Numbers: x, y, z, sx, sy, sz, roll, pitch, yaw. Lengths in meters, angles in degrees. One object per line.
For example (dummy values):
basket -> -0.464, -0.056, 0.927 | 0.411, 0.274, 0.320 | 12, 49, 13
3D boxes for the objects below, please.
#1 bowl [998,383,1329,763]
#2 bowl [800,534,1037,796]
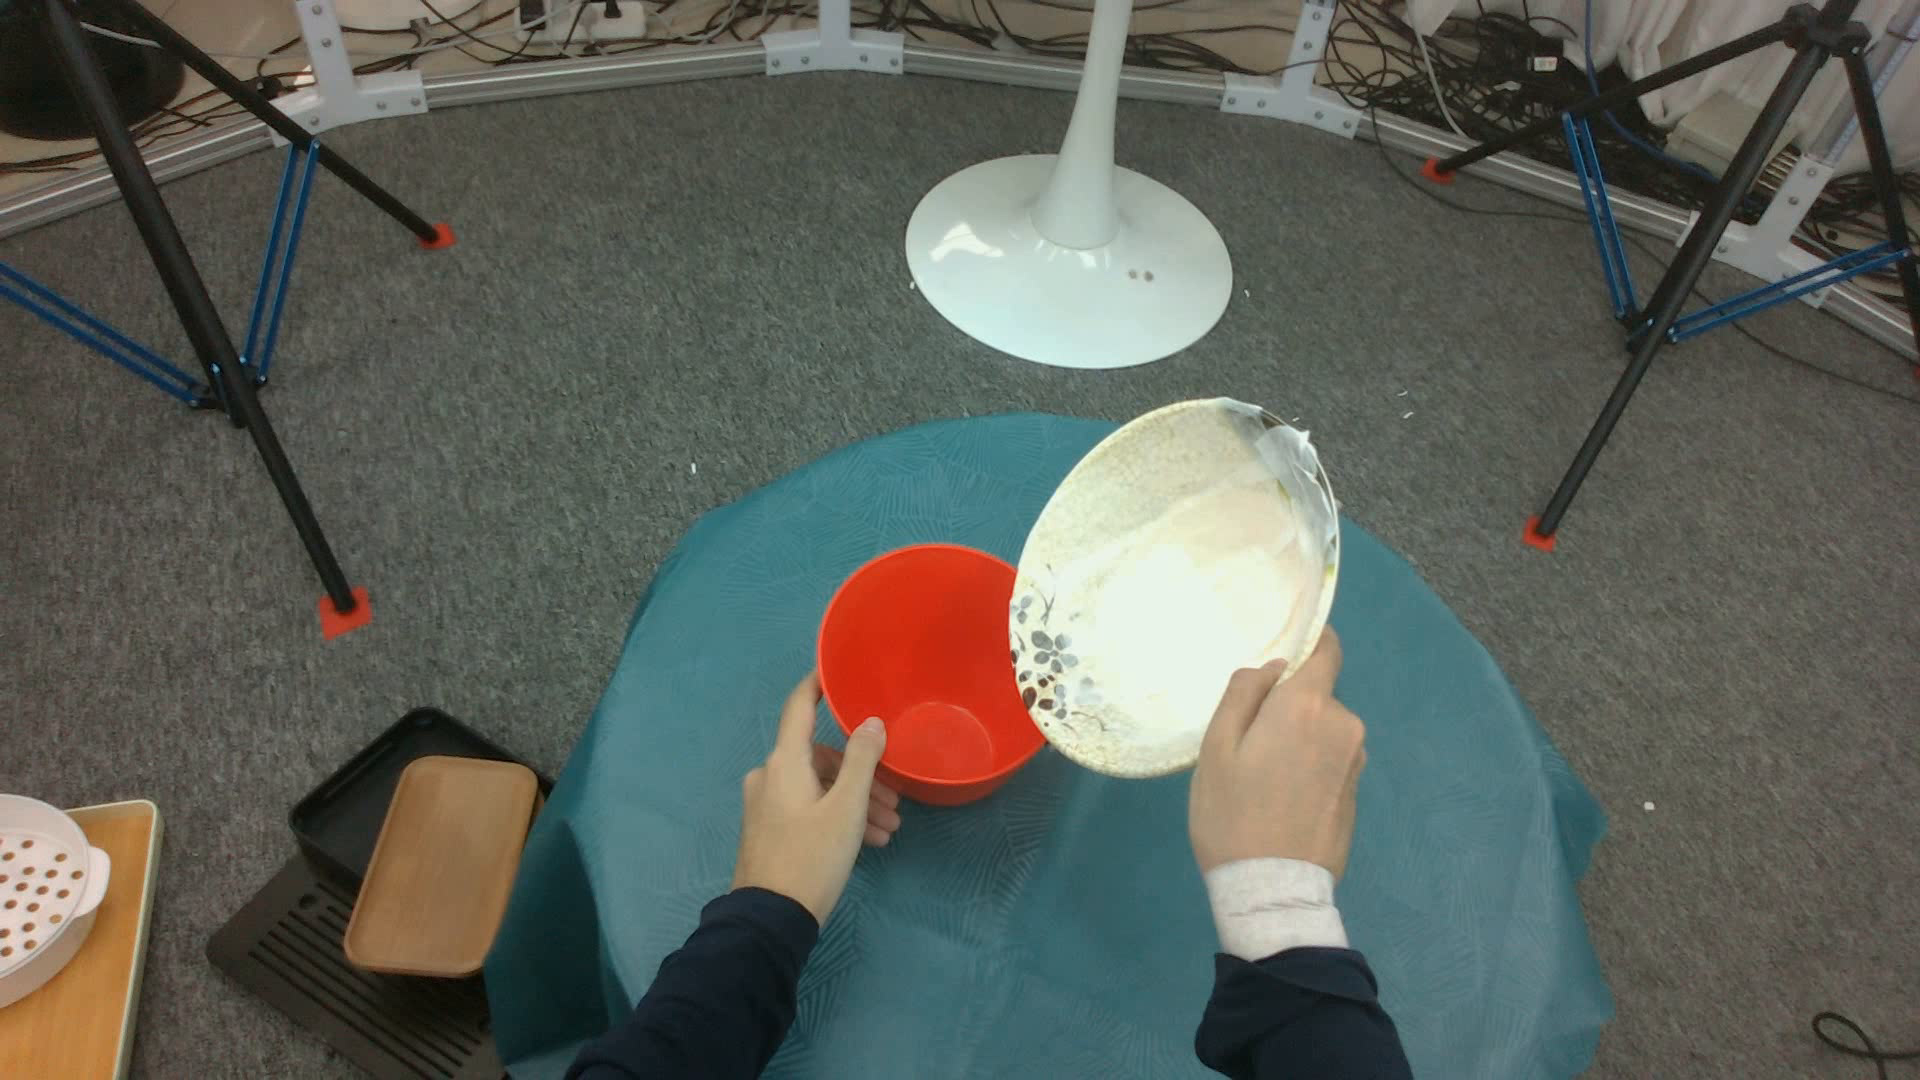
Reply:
bowl -> 0.120, 0.025, 0.723 | 0.078, 0.203, 0.205 | 27, 36, -41
bowl -> -0.020, 0.086, 0.816 | 0.148, 0.104, 0.148 | 3, 54, -5
